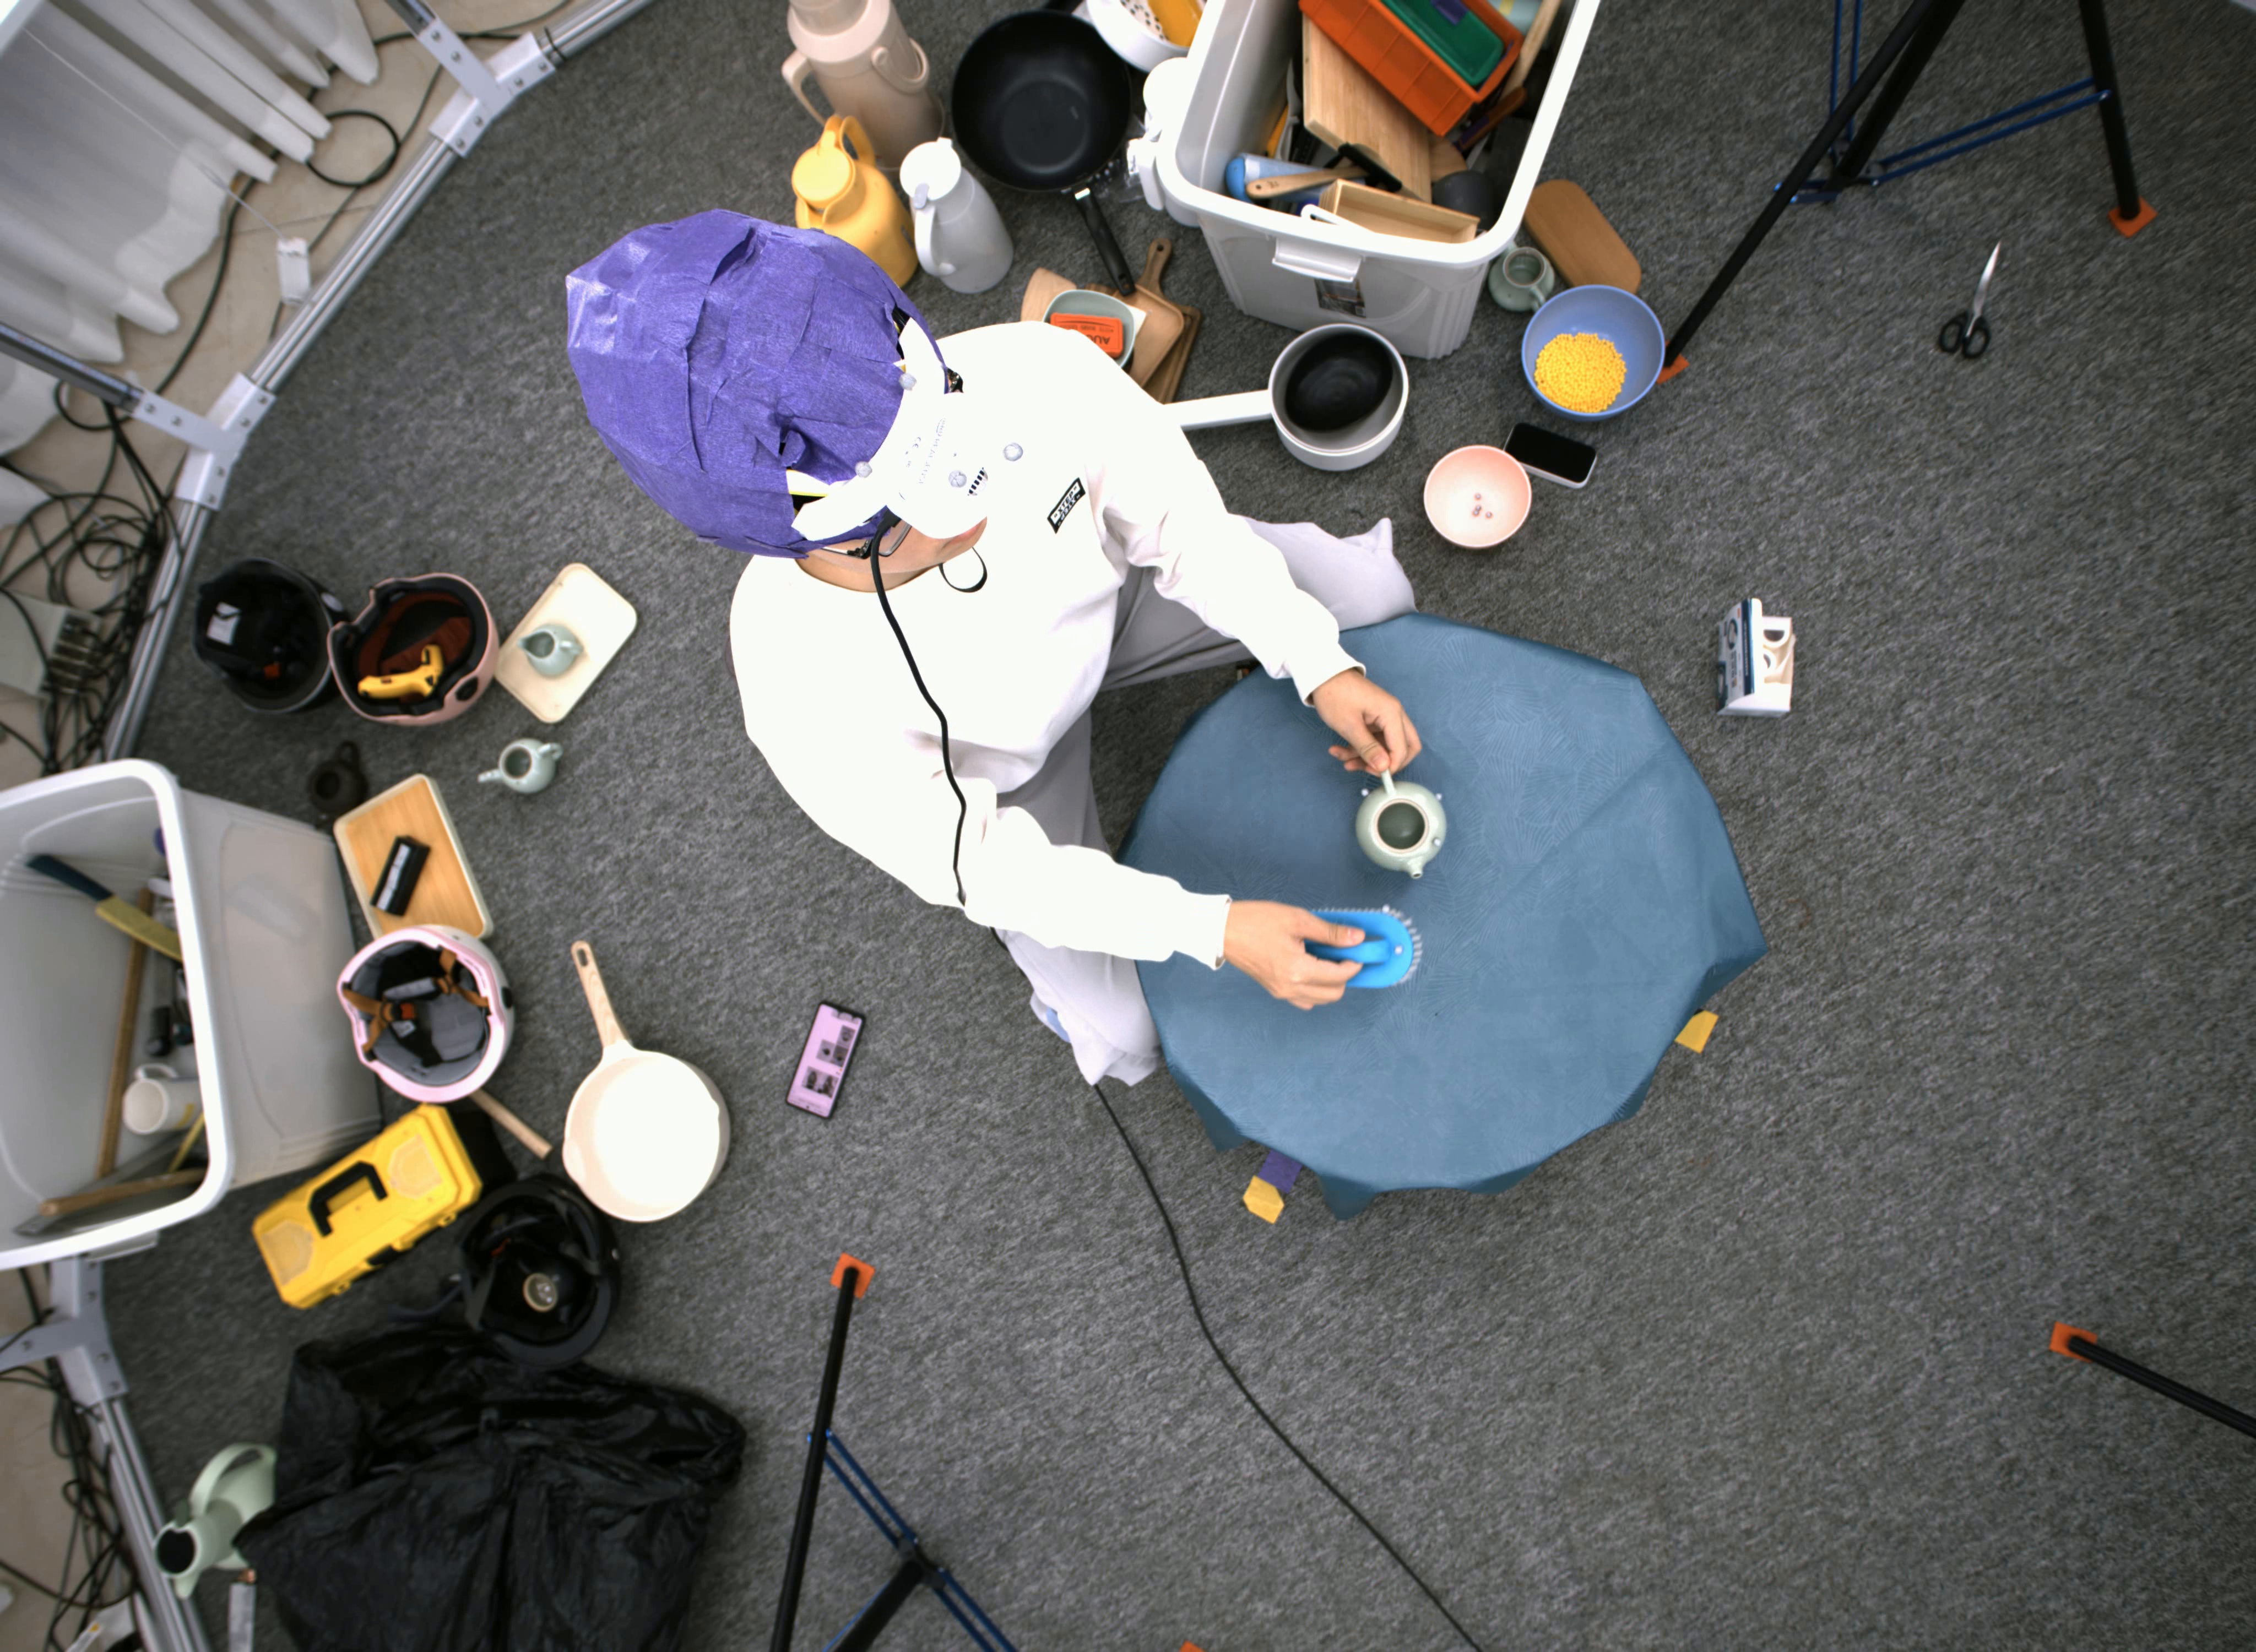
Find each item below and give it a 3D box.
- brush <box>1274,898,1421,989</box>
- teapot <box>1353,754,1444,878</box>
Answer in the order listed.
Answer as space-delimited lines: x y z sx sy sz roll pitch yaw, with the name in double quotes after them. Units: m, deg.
0.208 0.114 1.344 0.143 0.063 0.085 1 98 29 "brush"
0.272 -0.012 1.398 0.092 0.060 0.128 -12 90 14 "teapot"
